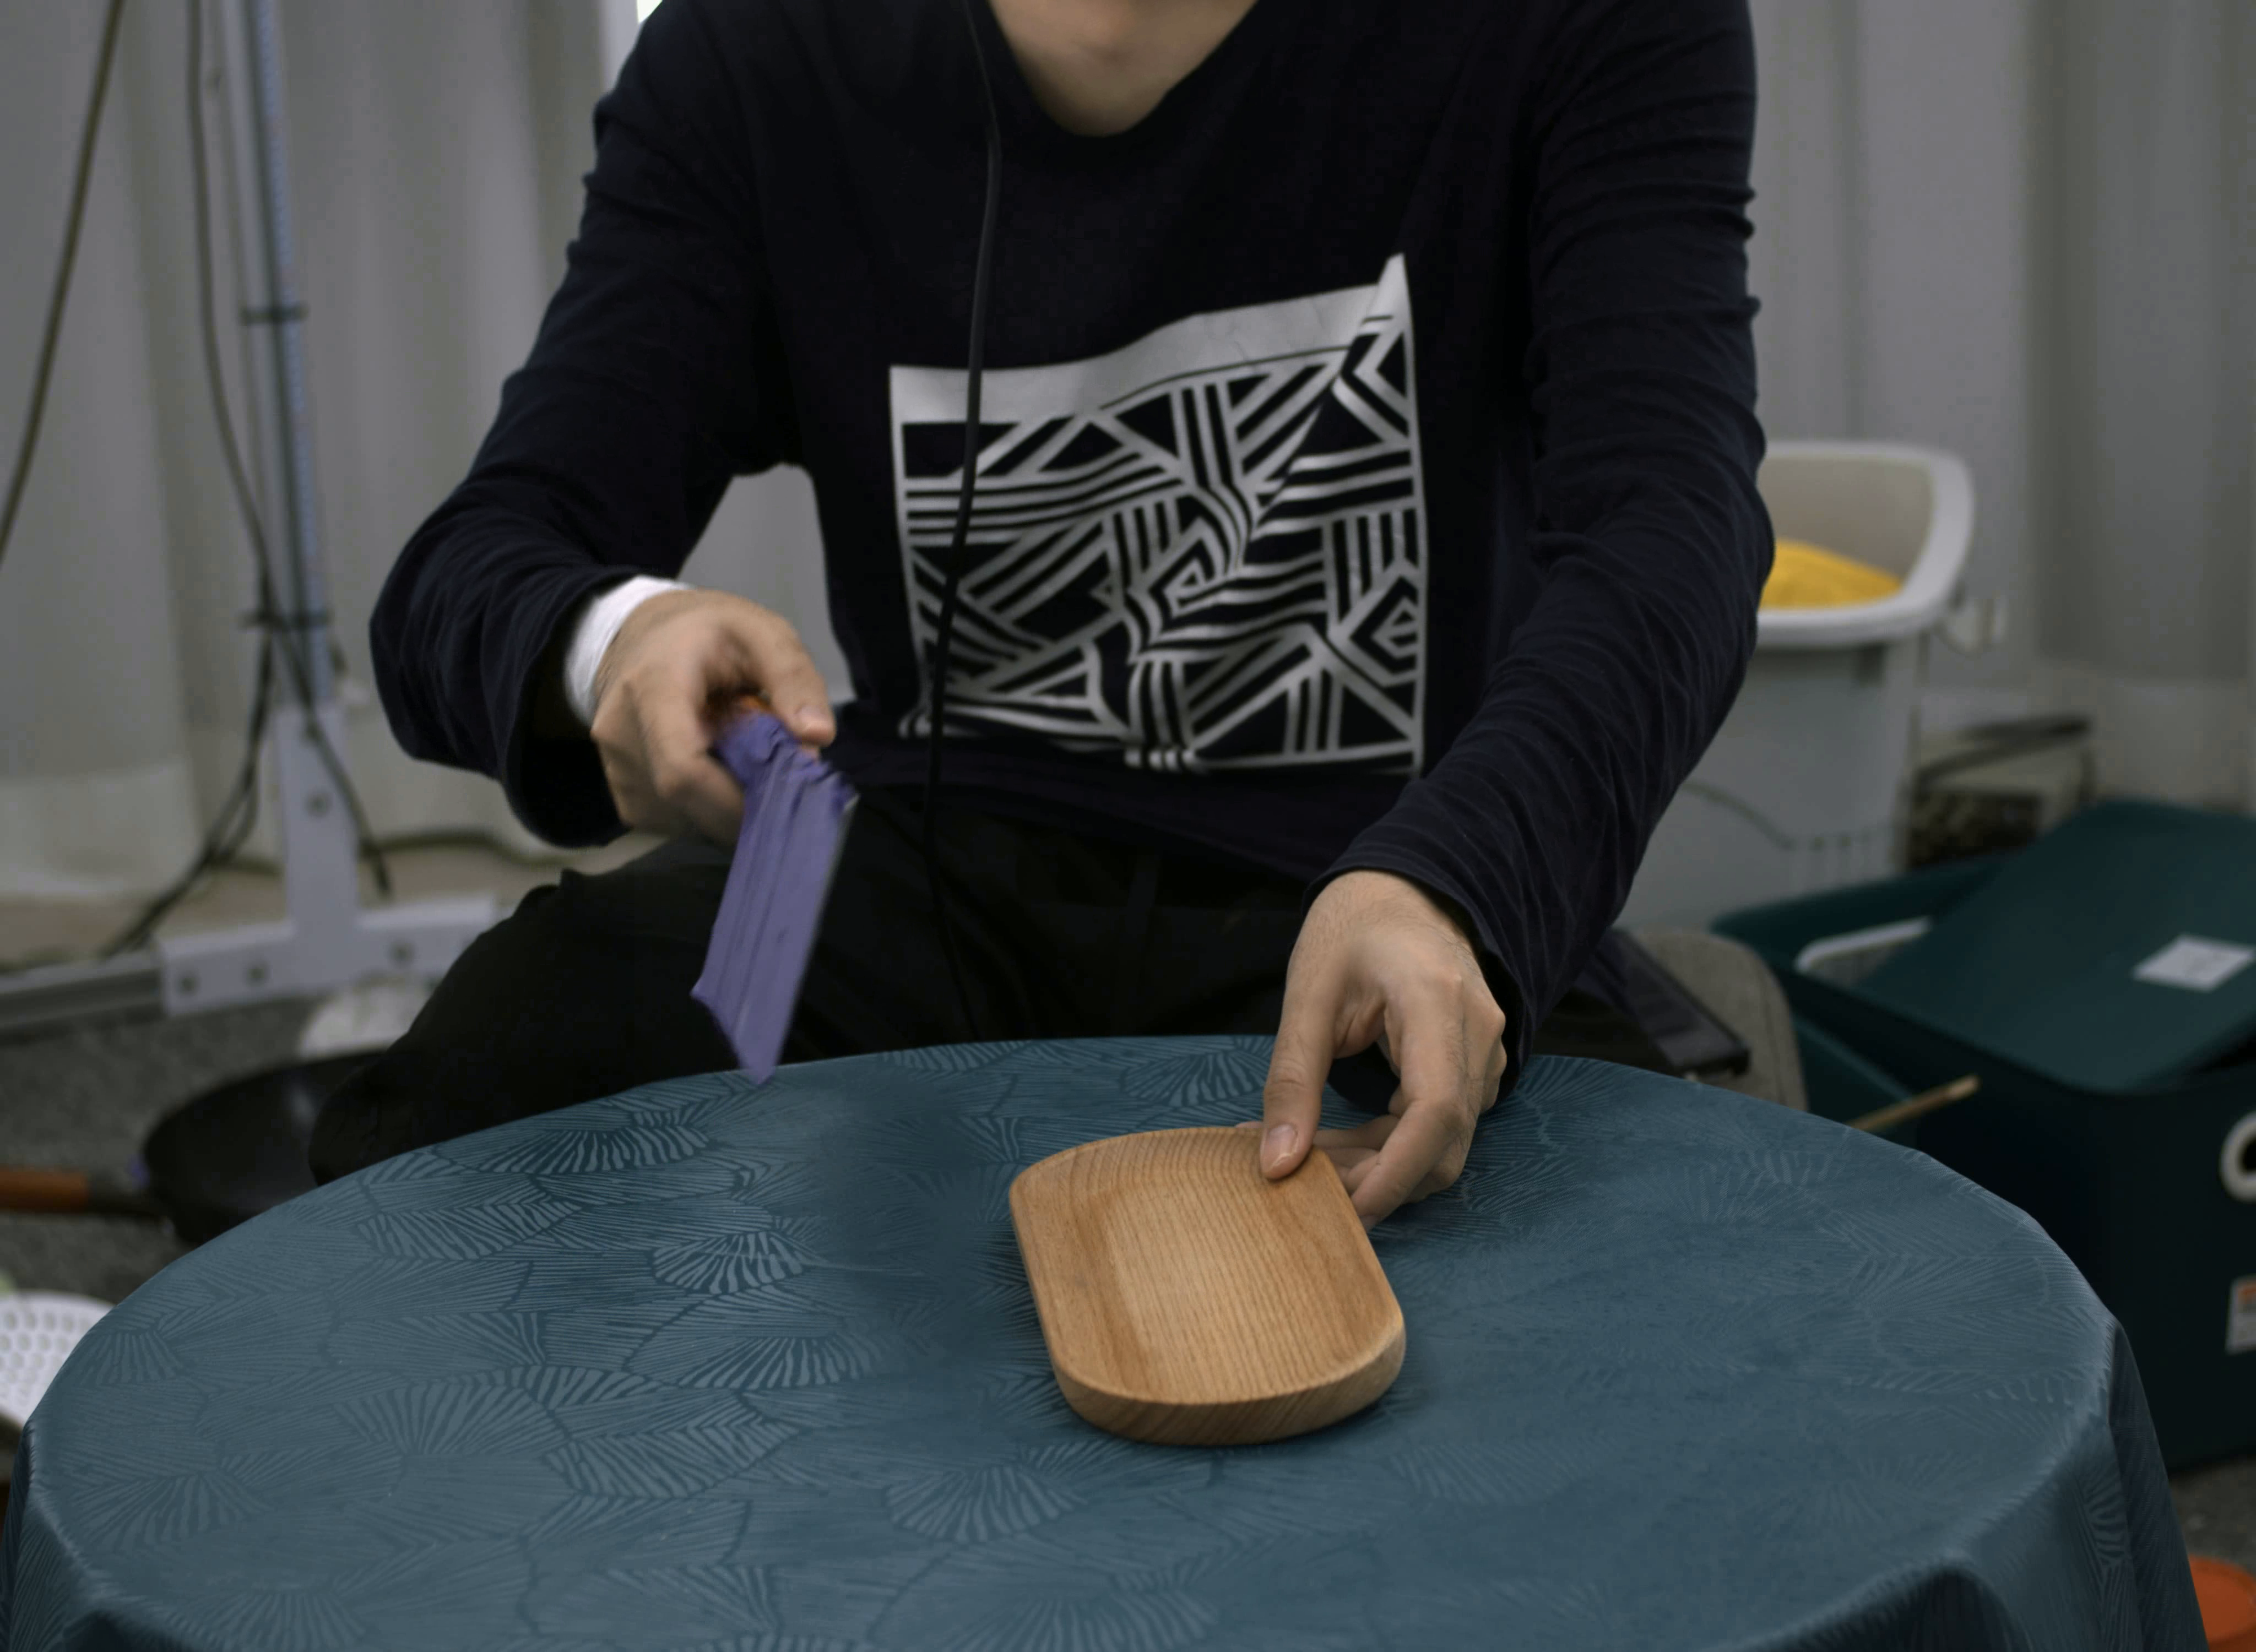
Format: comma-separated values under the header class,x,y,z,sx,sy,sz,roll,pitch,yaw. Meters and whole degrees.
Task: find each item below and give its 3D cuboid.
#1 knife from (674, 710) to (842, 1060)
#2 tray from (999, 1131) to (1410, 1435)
class,x,y,z,sx,sy,sz,roll,pitch,yaw
knife,-0.122,0.016,1.693,0.032,0.104,0.316,18,2,-9
tray,0.020,0.132,1.609,0.101,0.020,0.233,-6,14,-7
